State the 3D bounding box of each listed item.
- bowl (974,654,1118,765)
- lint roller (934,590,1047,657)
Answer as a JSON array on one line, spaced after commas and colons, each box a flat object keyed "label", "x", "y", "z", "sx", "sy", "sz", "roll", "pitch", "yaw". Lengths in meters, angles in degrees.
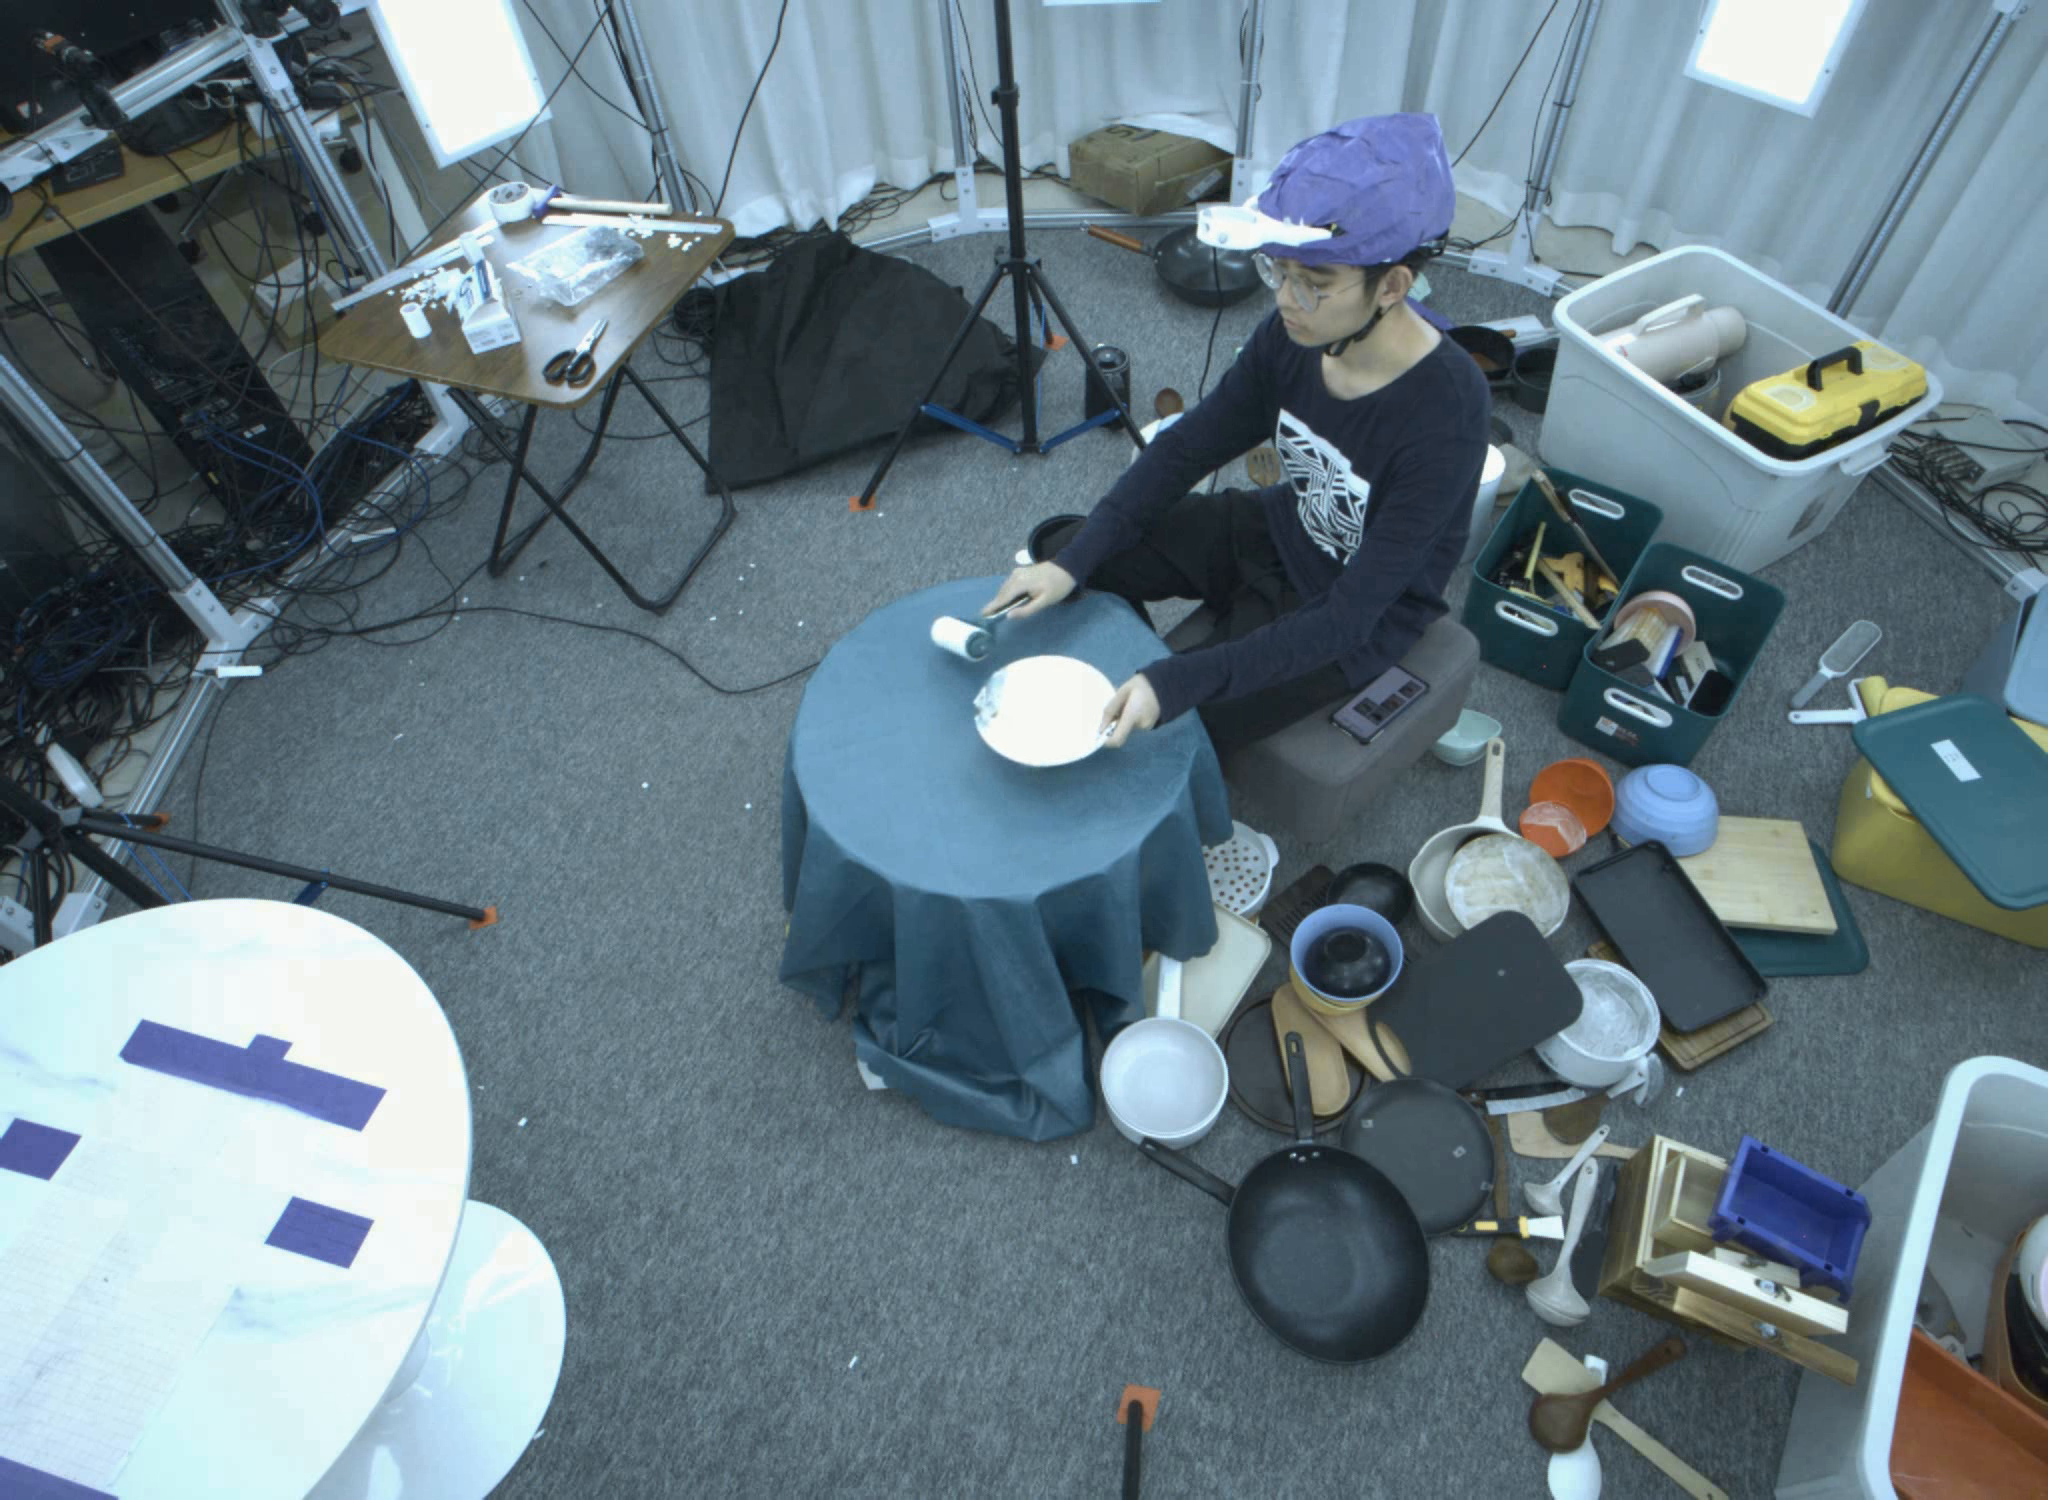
[{"label": "bowl", "x": 0.030, "y": -0.038, "z": 1.764, "sx": 0.204, "sy": 0.078, "sz": 0.202, "roll": 2, "pitch": 52, "yaw": -1}, {"label": "lint roller", "x": -0.041, "y": -0.209, "z": 1.857, "sx": 0.181, "sy": 0.049, "sz": 0.131, "roll": -39, "pitch": 33, "yaw": -20}]
